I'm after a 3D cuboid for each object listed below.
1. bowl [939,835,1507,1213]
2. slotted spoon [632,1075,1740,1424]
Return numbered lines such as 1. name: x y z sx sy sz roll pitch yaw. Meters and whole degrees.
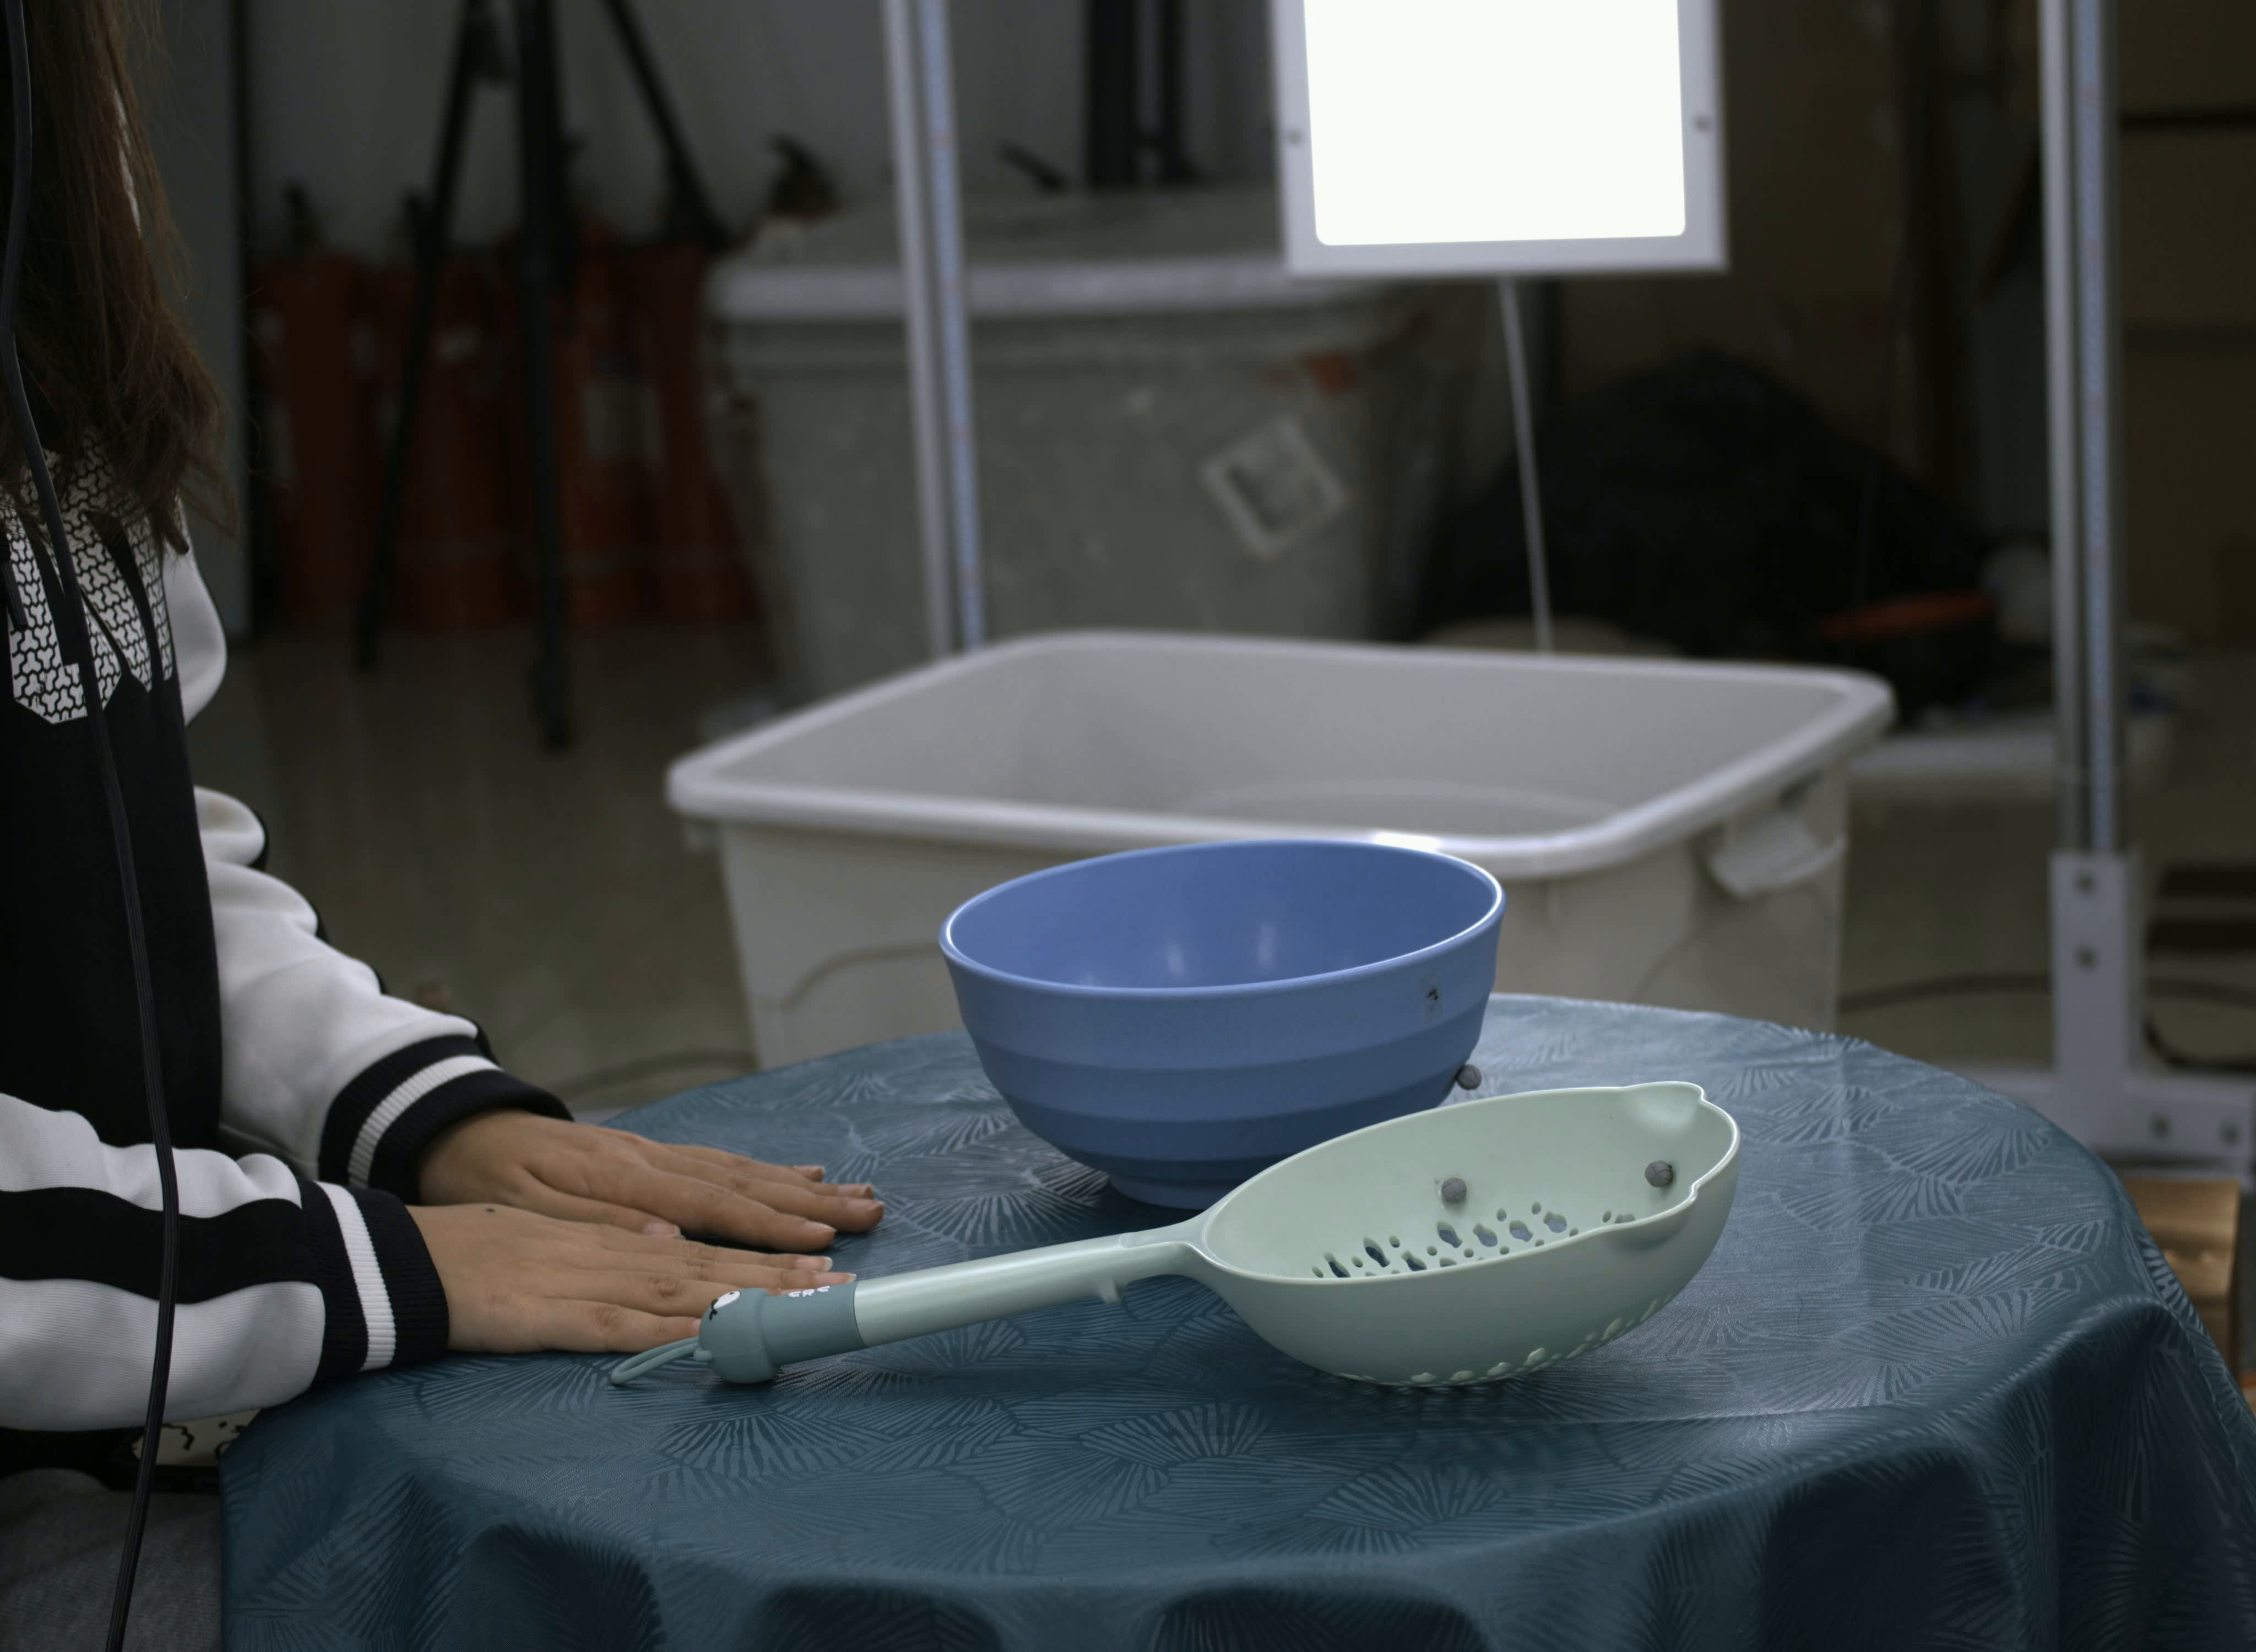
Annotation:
1. bowl: 0.036 0.074 1.900 0.196 0.096 0.196 -5 14 0
2. slotted spoon: 0.014 0.141 1.713 0.361 0.075 0.167 -4 13 11
